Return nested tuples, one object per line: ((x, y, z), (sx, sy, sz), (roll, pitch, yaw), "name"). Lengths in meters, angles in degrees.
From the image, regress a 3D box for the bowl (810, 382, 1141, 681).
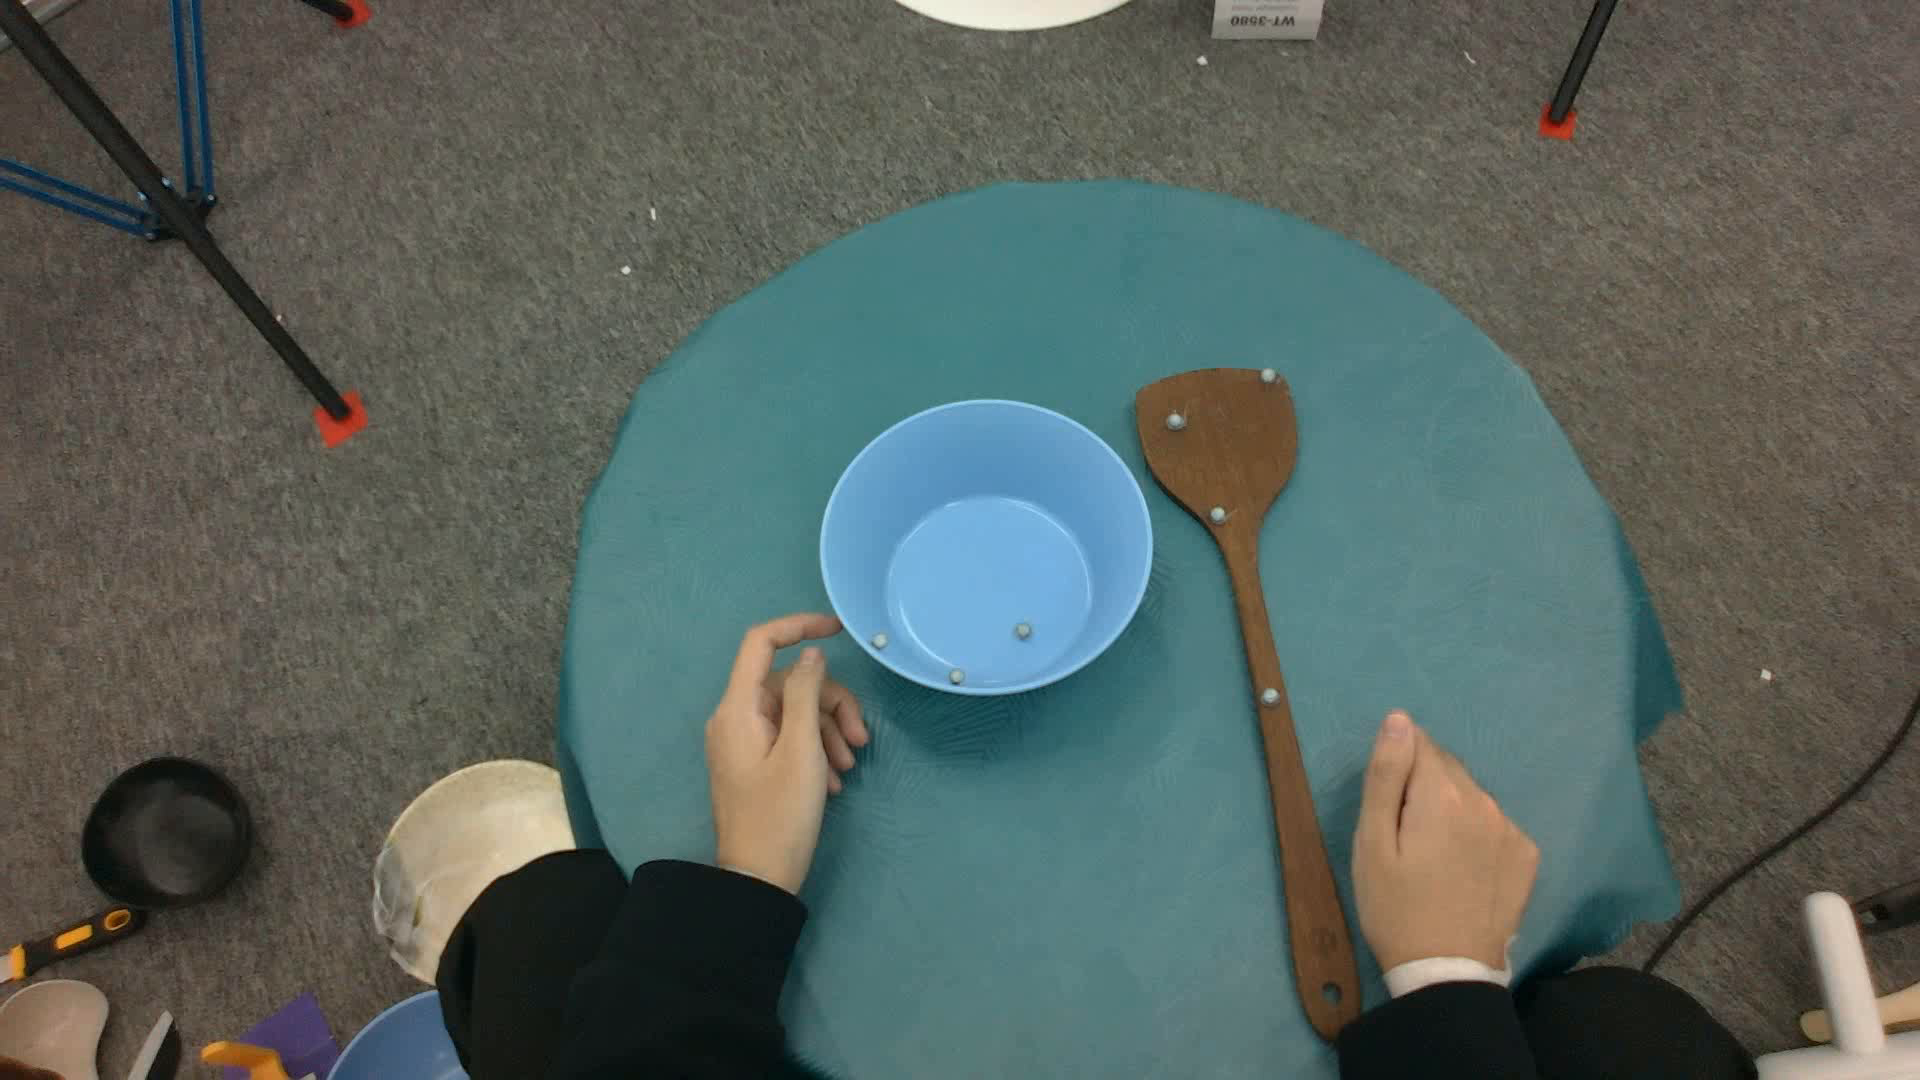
((0.010, 0.004, 0.755), (0.176, 0.070, 0.176), (-1, 64, 2), "bowl")

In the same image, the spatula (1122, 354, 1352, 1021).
((0.160, 0.060, 0.751), (0.096, 0.016, 0.387), (-6, 63, 0), "spatula")
